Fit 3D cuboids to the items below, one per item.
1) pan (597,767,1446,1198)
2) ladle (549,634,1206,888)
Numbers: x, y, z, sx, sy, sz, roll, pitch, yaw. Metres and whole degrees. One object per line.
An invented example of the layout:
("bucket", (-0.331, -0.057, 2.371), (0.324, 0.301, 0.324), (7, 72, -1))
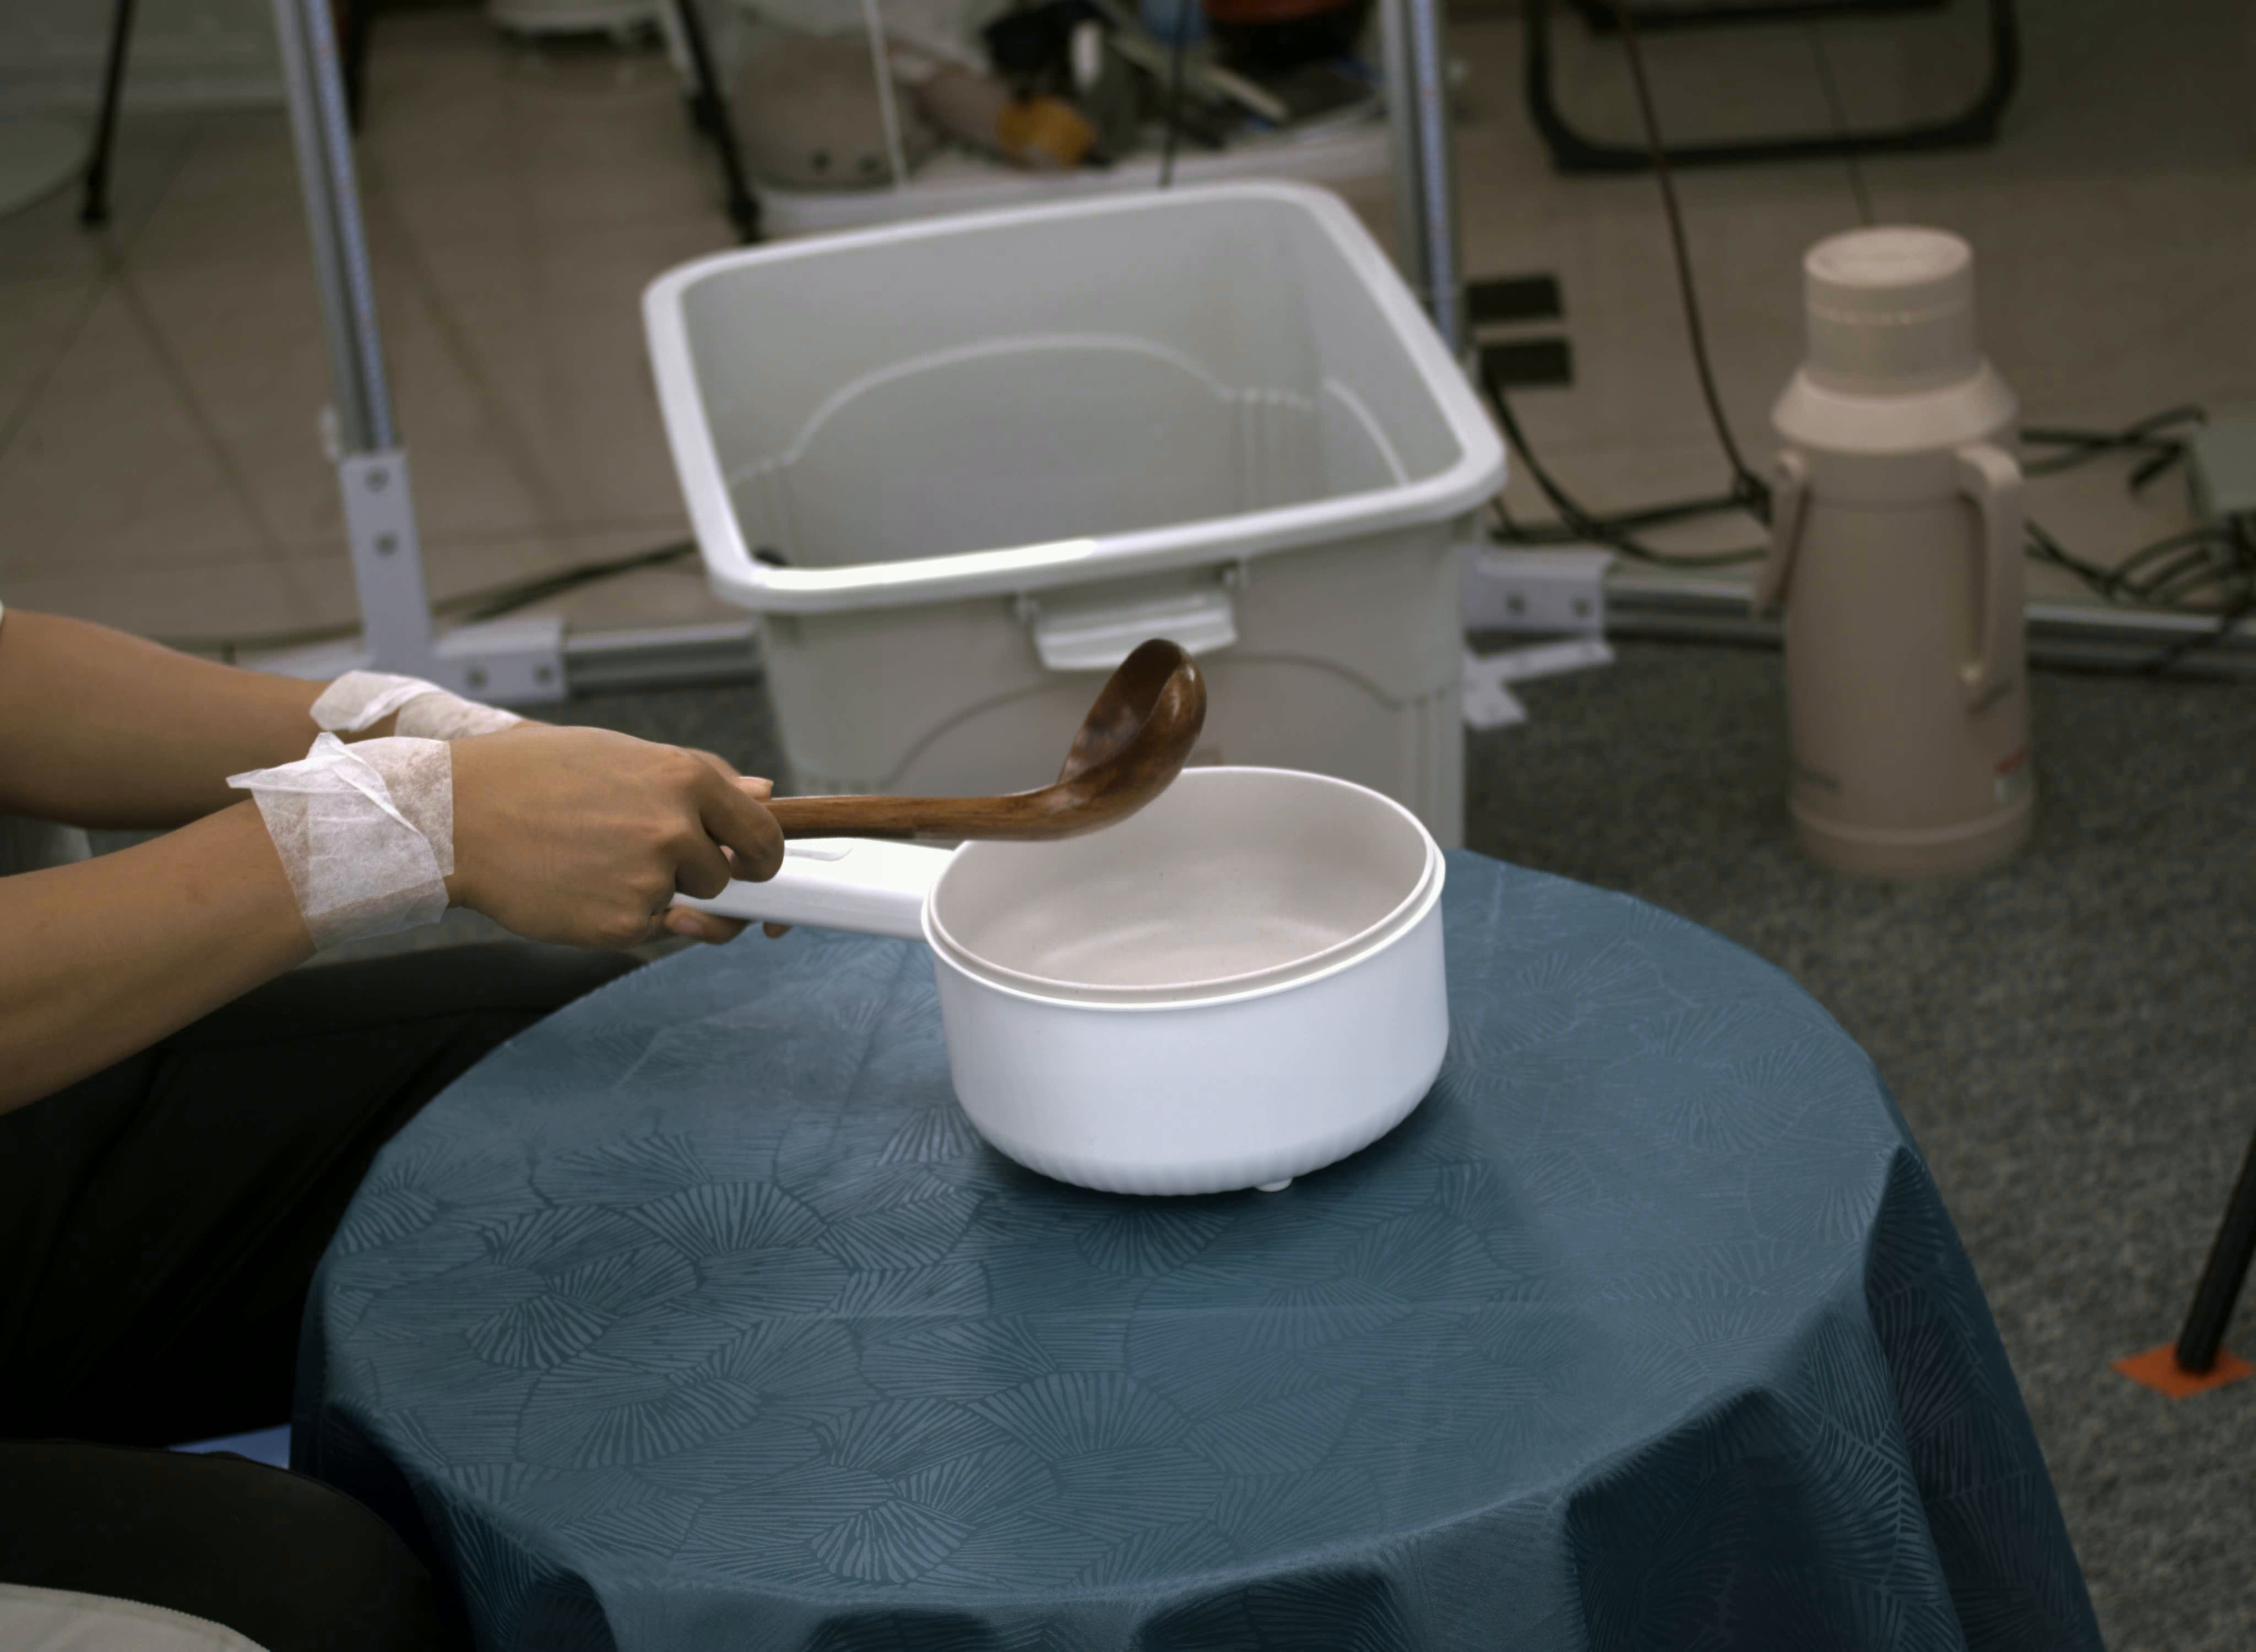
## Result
("pan", (-0.044, 0.057, 2.219), (0.353, 0.104, 0.198), (6, 29, 26))
("ladle", (-0.092, -0.026, 2.098), (0.273, 0.083, 0.076), (-4, 64, -28))
